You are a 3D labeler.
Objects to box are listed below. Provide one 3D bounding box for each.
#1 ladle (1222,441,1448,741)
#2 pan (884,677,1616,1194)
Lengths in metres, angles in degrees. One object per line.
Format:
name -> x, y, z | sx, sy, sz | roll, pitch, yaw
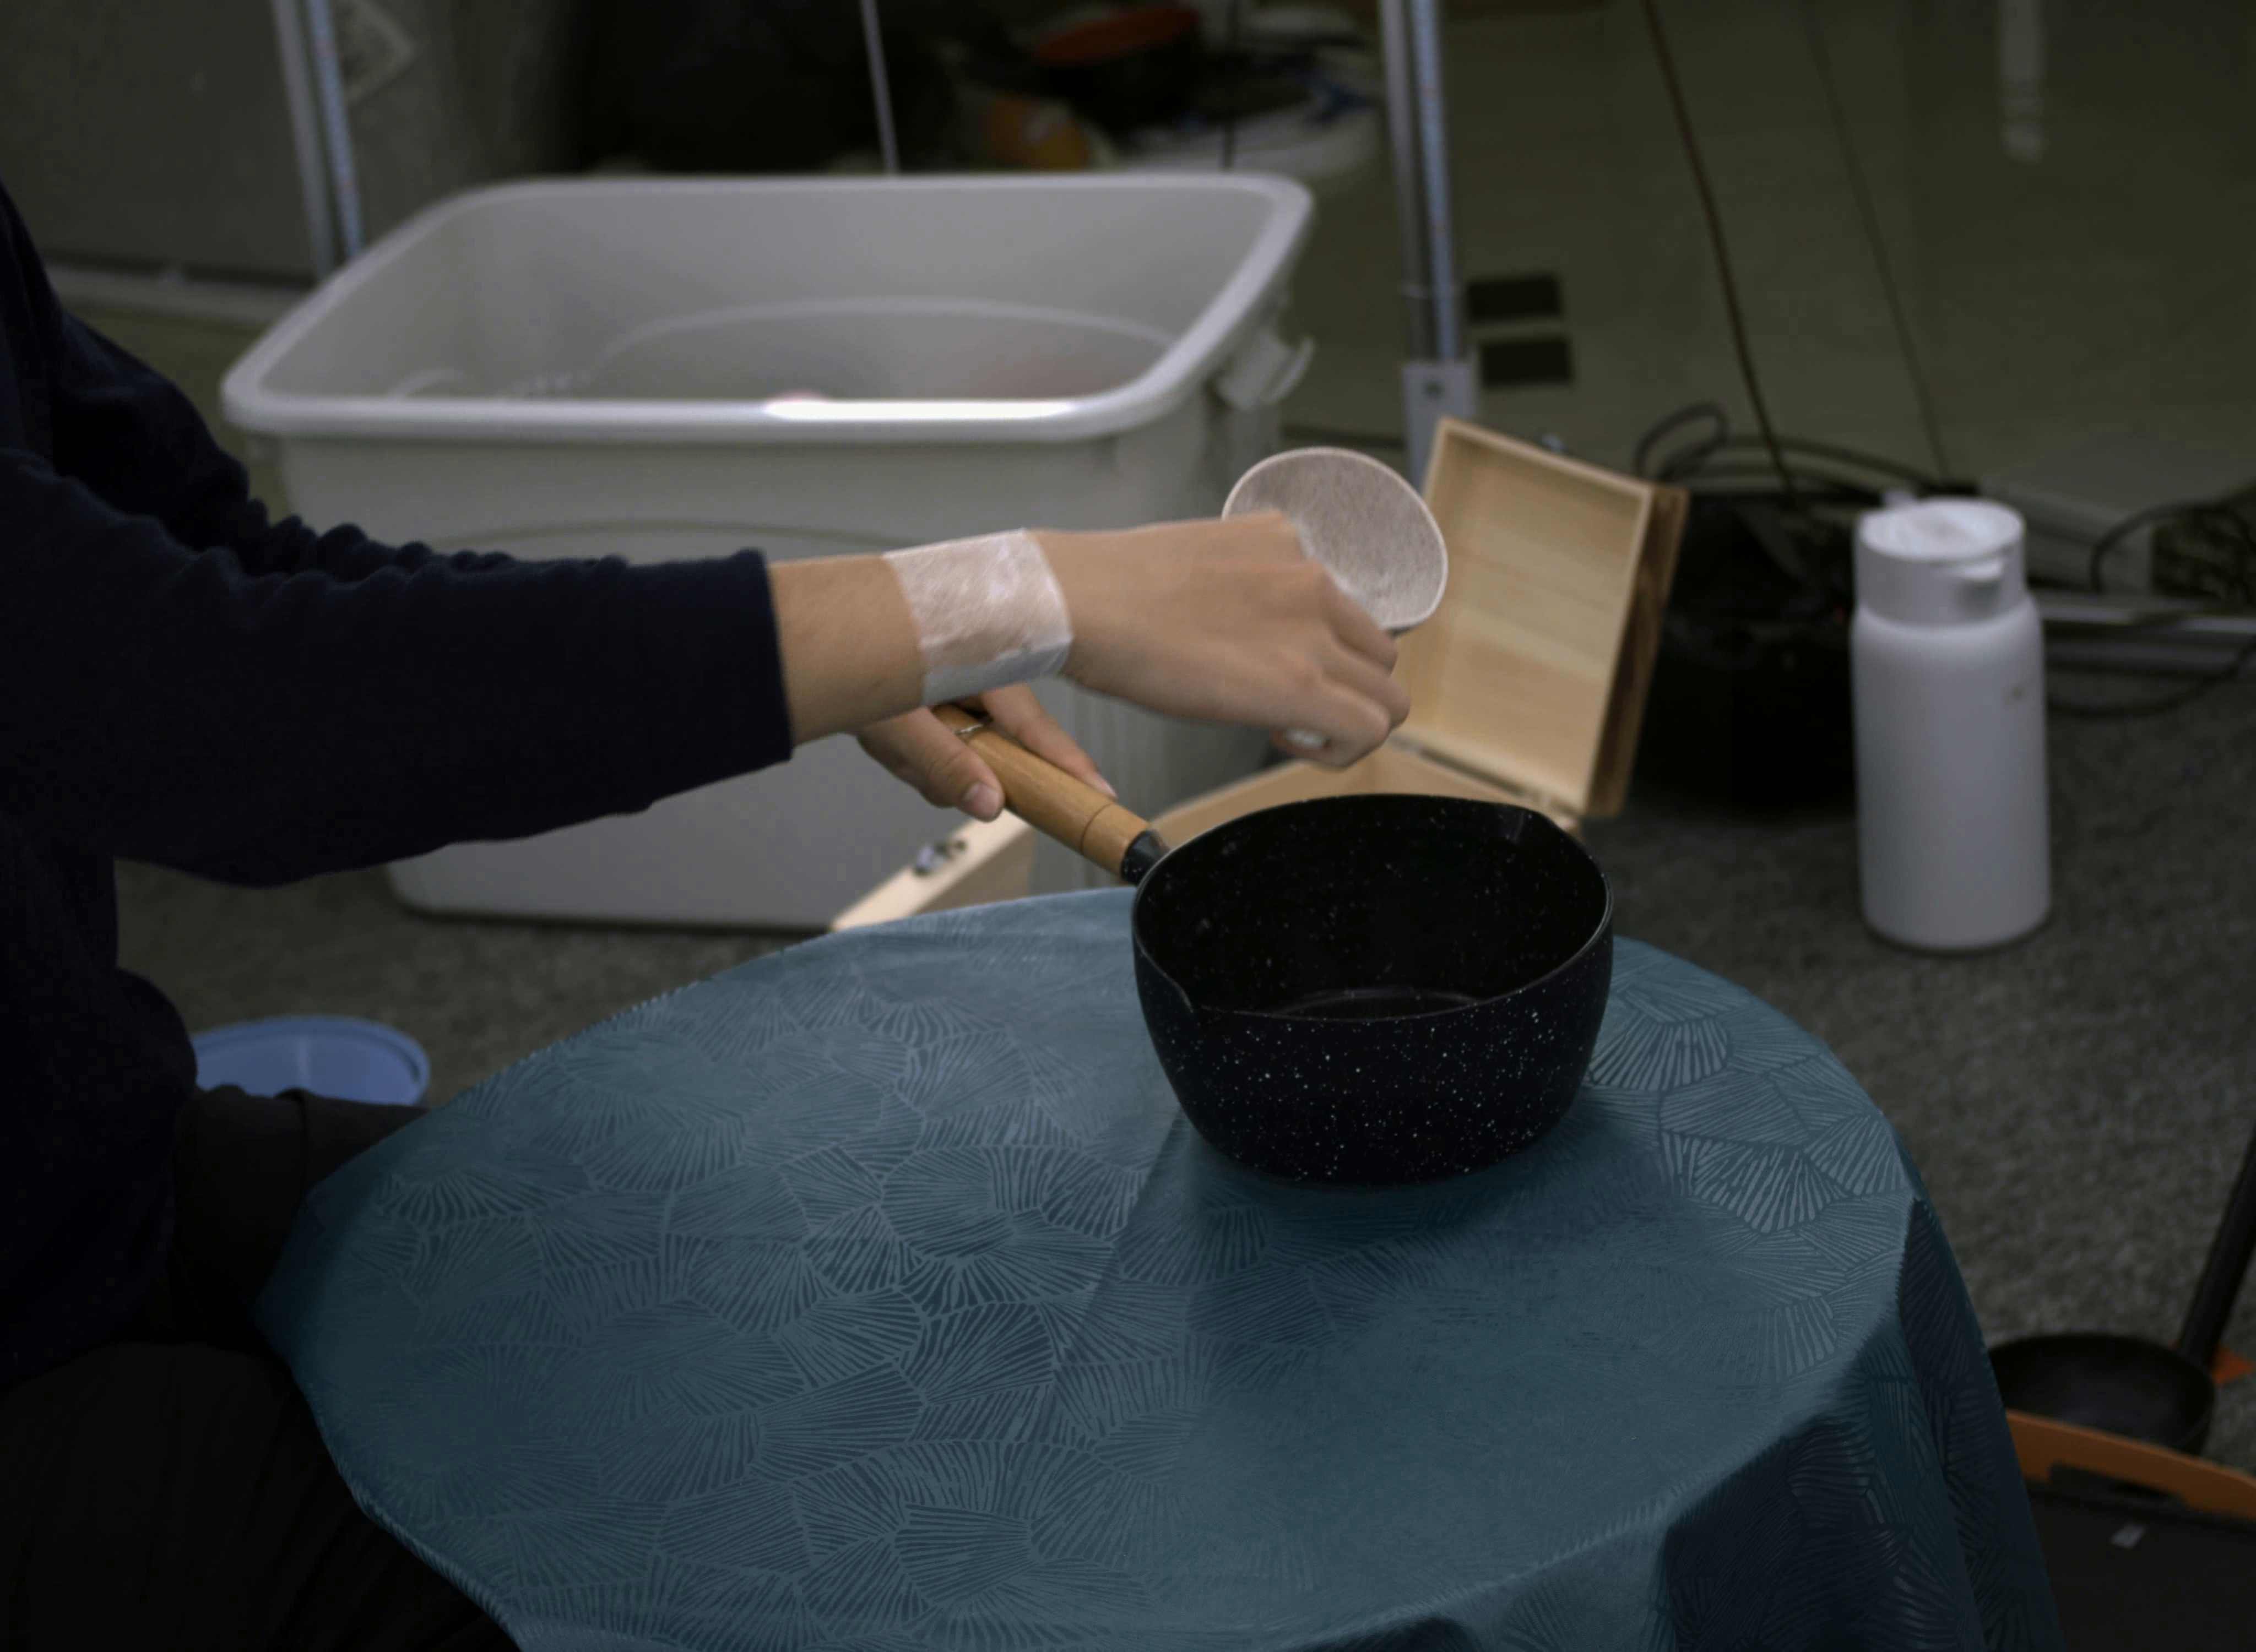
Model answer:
ladle -> 0.074, -0.087, 2.024 | 0.089, 0.070, 0.273 | 26, 11, -3
pan -> 0.034, 0.035, 2.211 | 0.340, 0.110, 0.205 | 20, 37, 36
